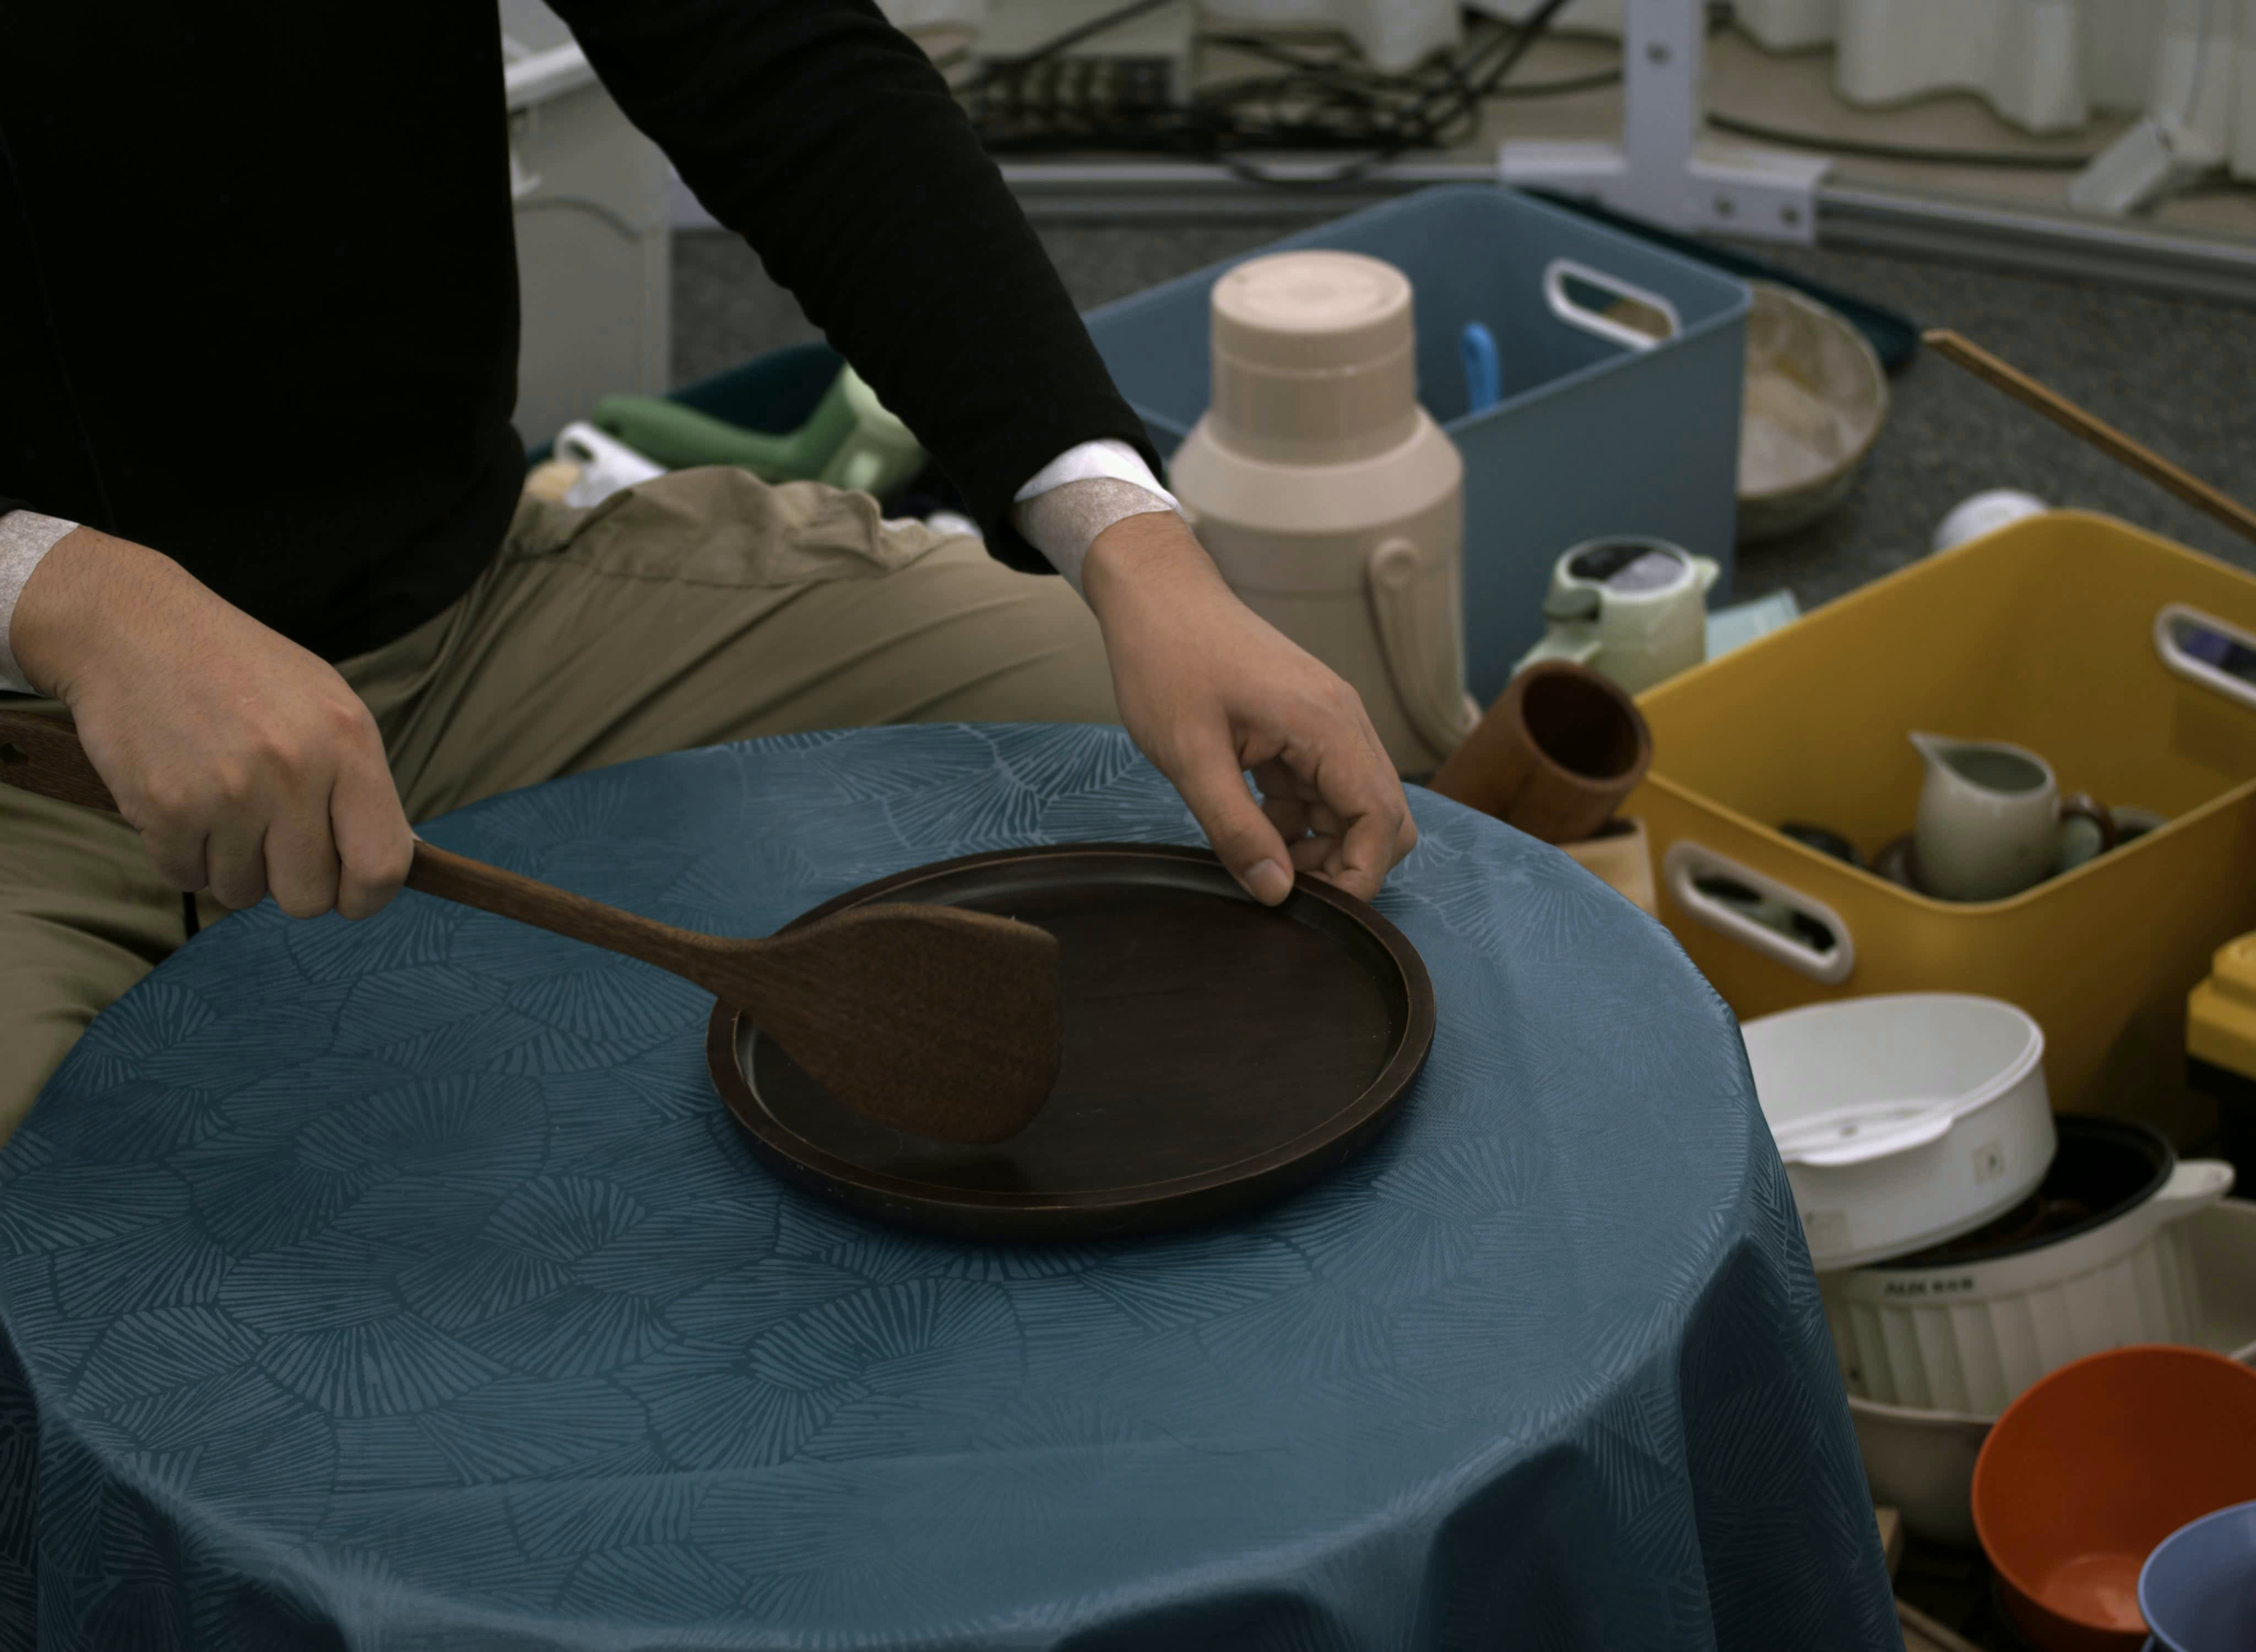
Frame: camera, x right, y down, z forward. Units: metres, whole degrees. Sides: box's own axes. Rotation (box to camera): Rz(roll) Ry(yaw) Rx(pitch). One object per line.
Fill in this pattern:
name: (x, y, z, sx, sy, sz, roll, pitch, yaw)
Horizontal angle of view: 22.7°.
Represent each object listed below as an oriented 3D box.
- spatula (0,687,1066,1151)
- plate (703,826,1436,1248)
spatula: (-0.205, 0.020, 1.851, 0.384, 0.094, 0.016, 18, 34, 6)
plate: (-0.020, 0.074, 1.930, 0.253, 0.029, 0.259, -3, 28, 2)
